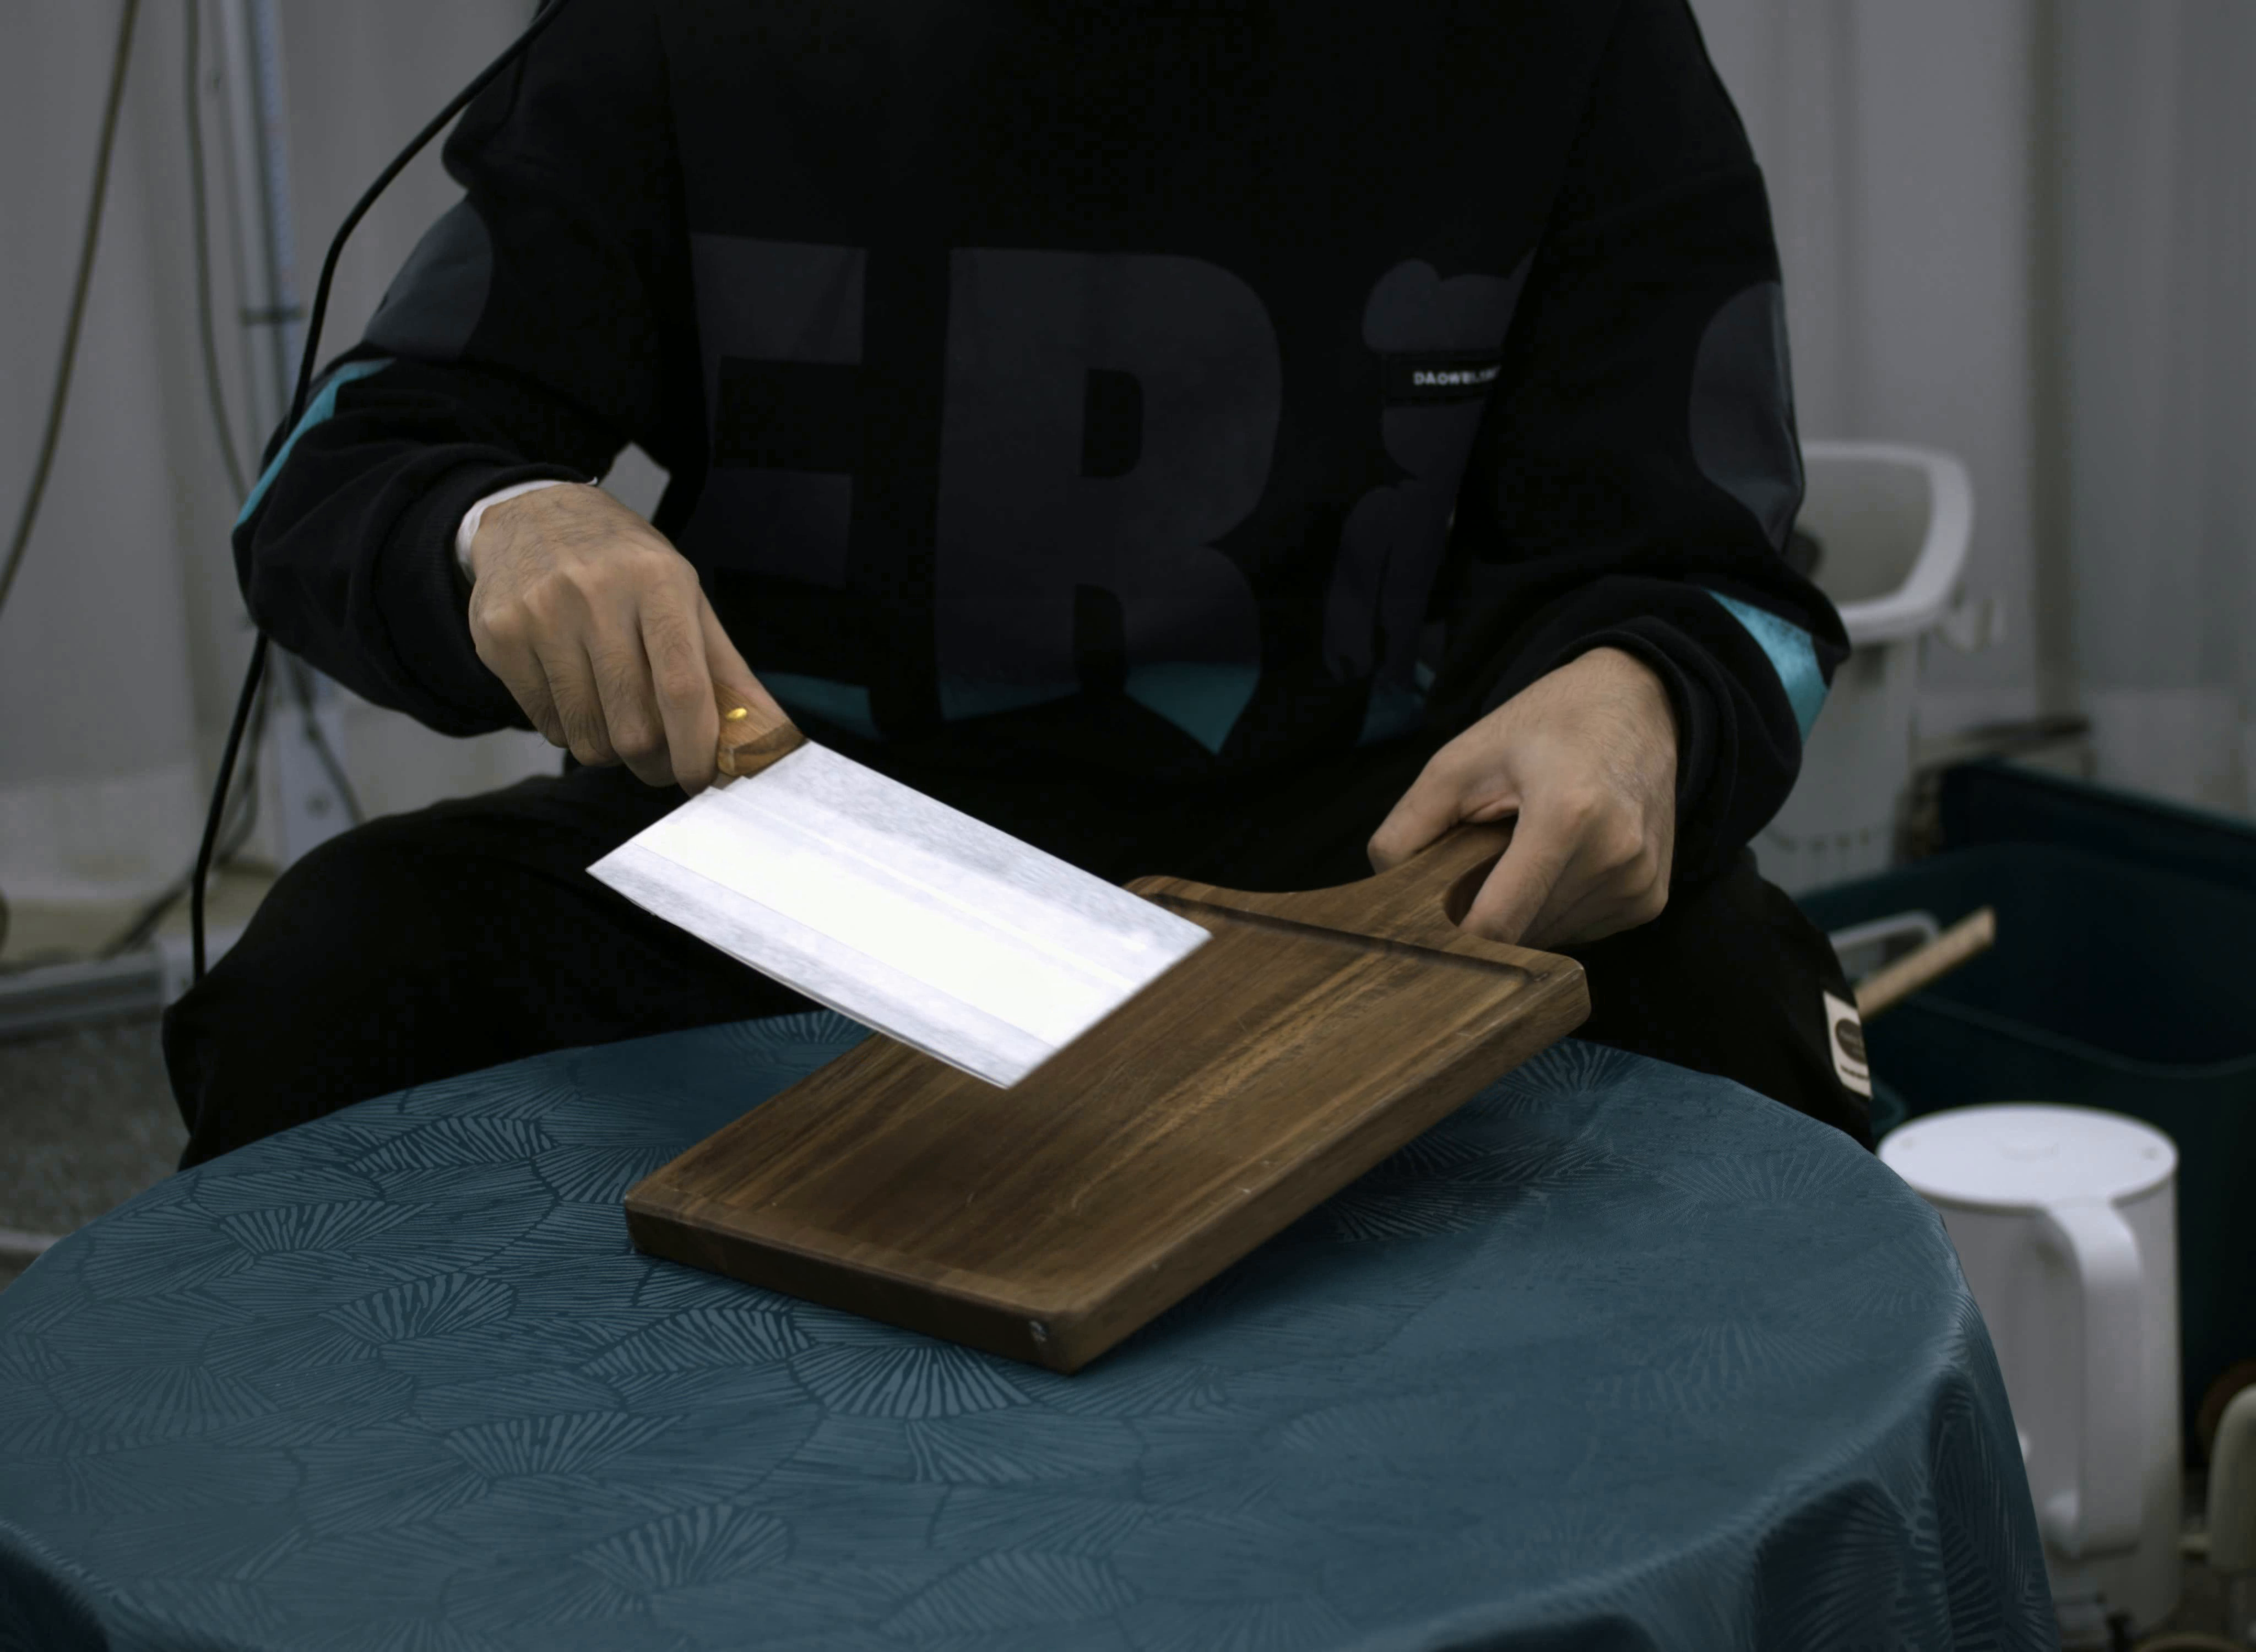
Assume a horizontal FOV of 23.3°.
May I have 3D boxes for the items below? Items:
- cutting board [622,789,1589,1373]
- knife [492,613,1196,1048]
[{"bbox_3d":[0.026,0.067,1.728,0.202,0.023,0.353,10,30,41],"label":"cutting board"},{"bbox_3d":[-0.112,0.003,1.710,0.093,0.021,0.308,-36,42,-30],"label":"knife"}]
